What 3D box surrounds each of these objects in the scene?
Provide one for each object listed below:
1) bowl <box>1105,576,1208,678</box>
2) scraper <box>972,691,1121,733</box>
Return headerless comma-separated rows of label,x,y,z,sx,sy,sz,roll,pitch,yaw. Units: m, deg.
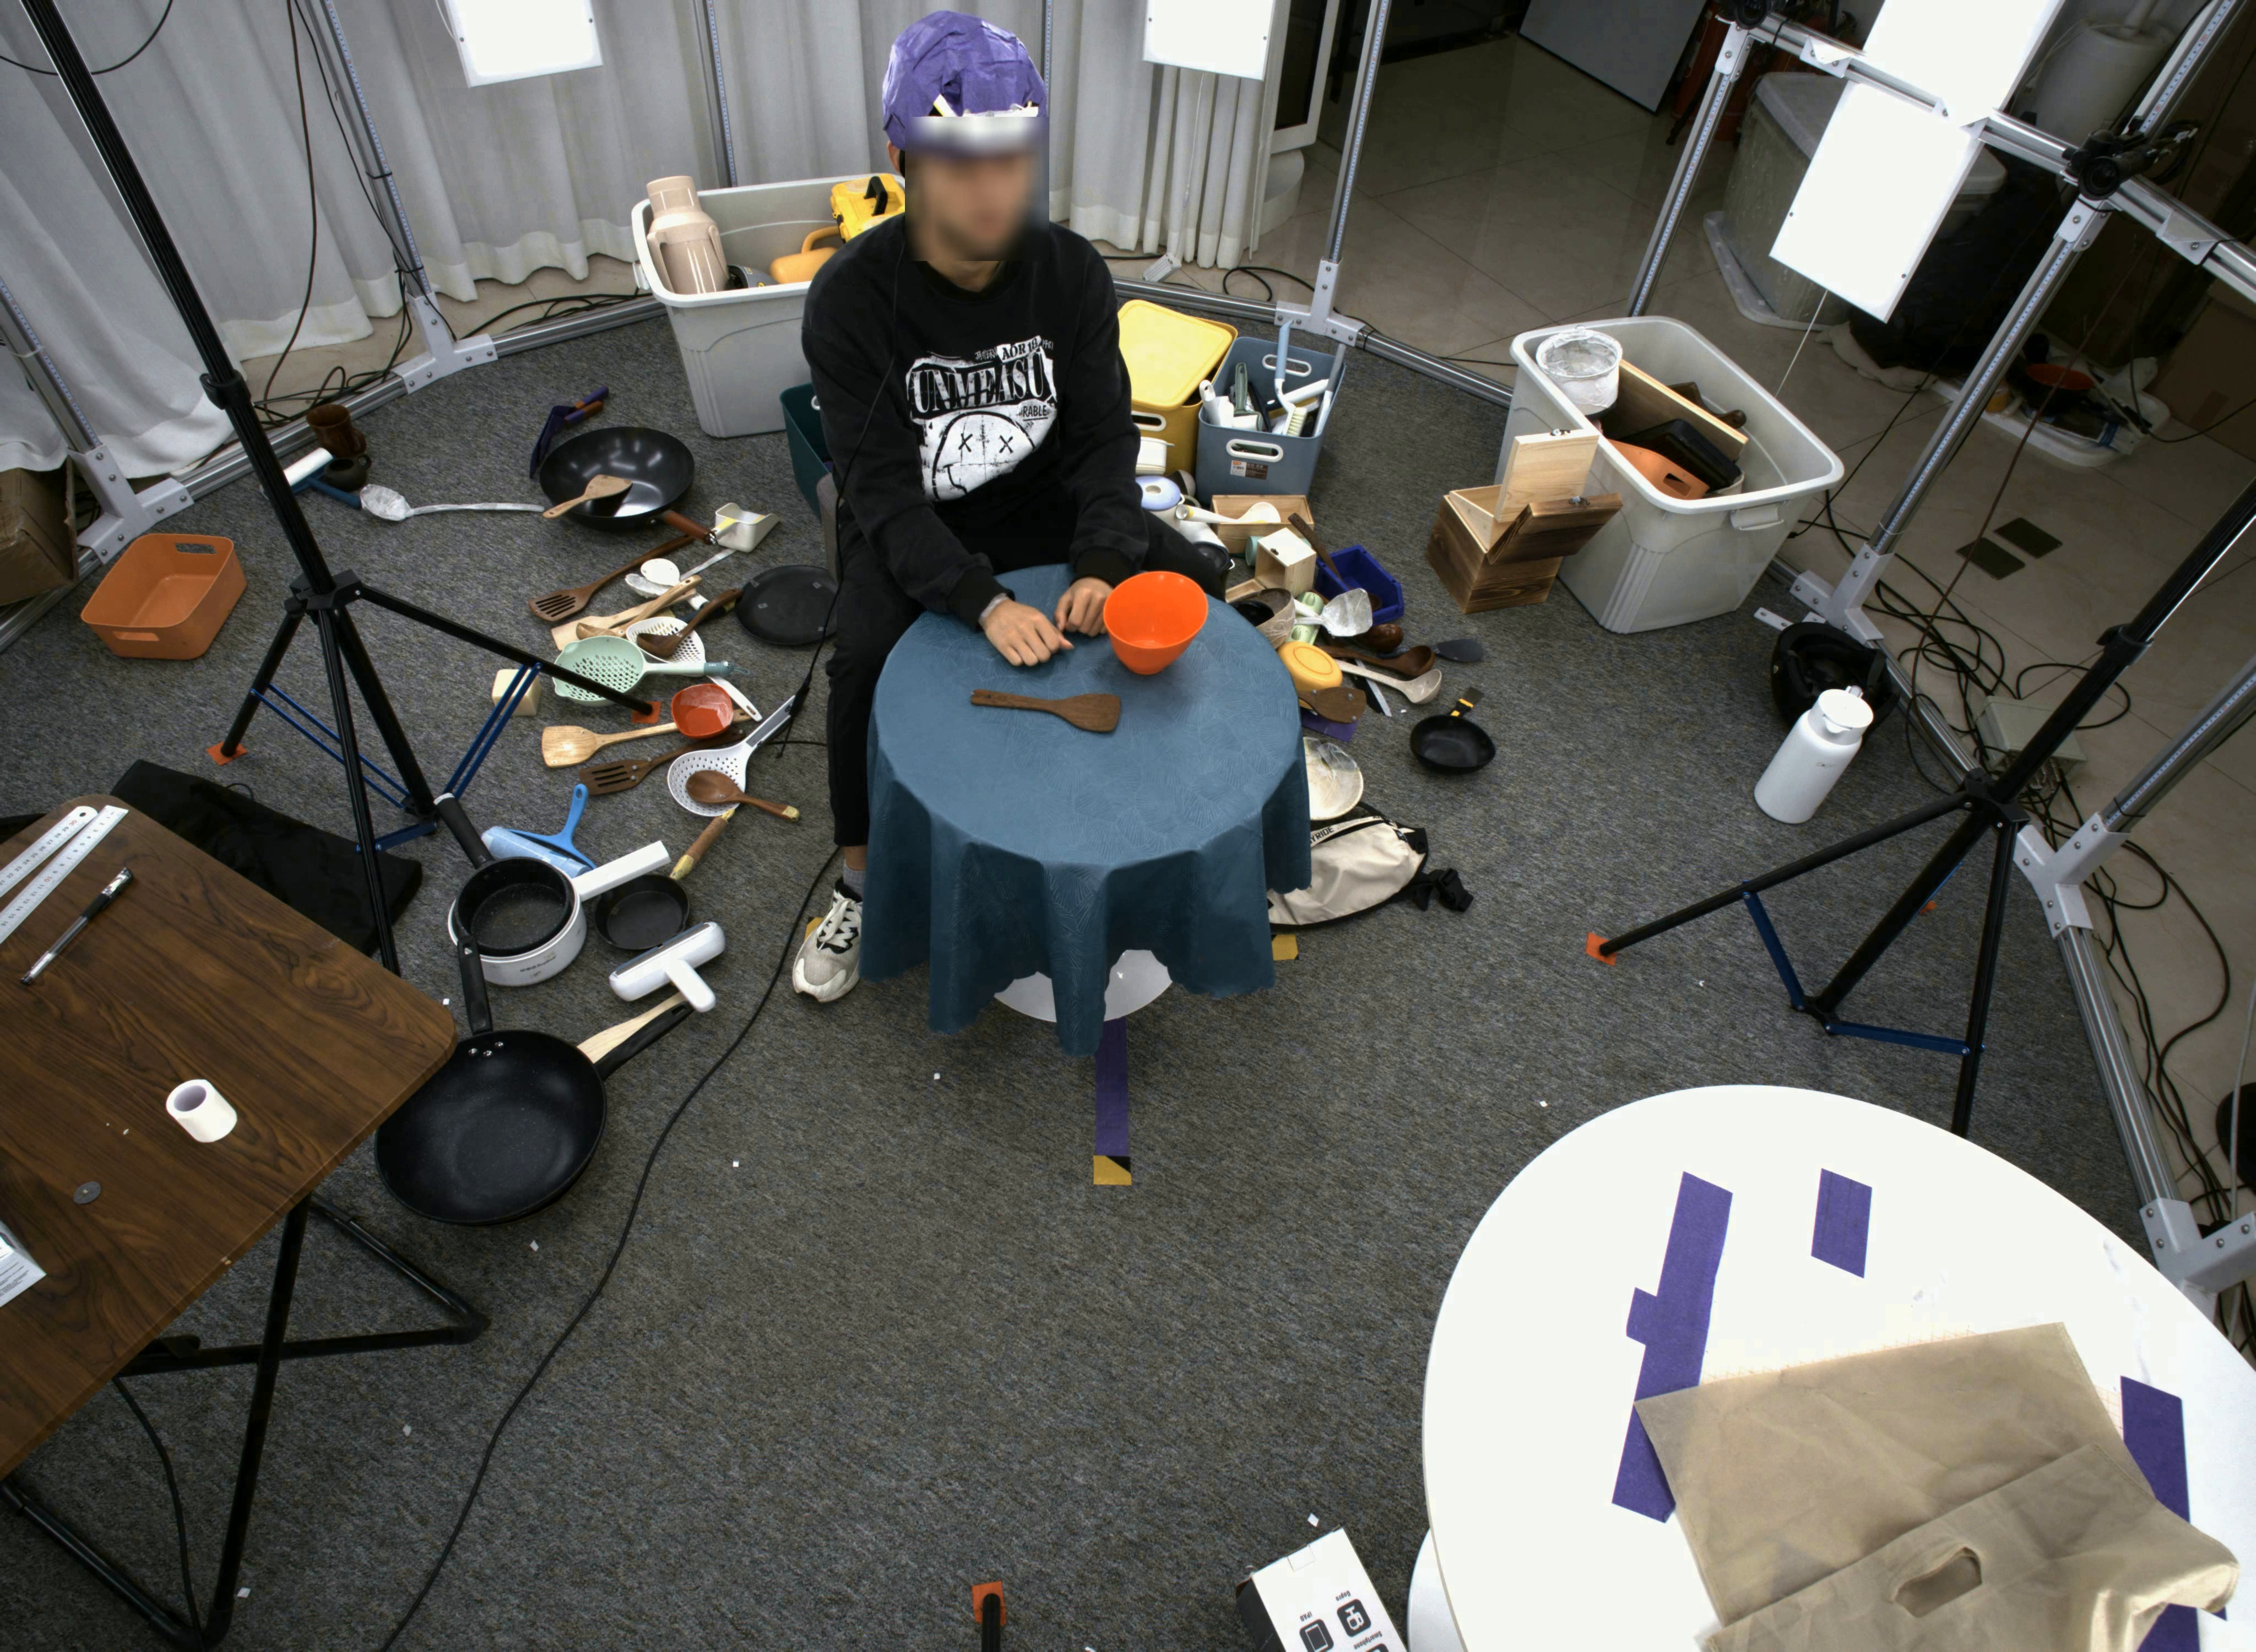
bowl,0.038,-0.279,1.865,0.148,0.102,0.152,2,49,-3
scraper,-0.115,-0.169,1.818,0.211,0.010,0.077,7,47,4
